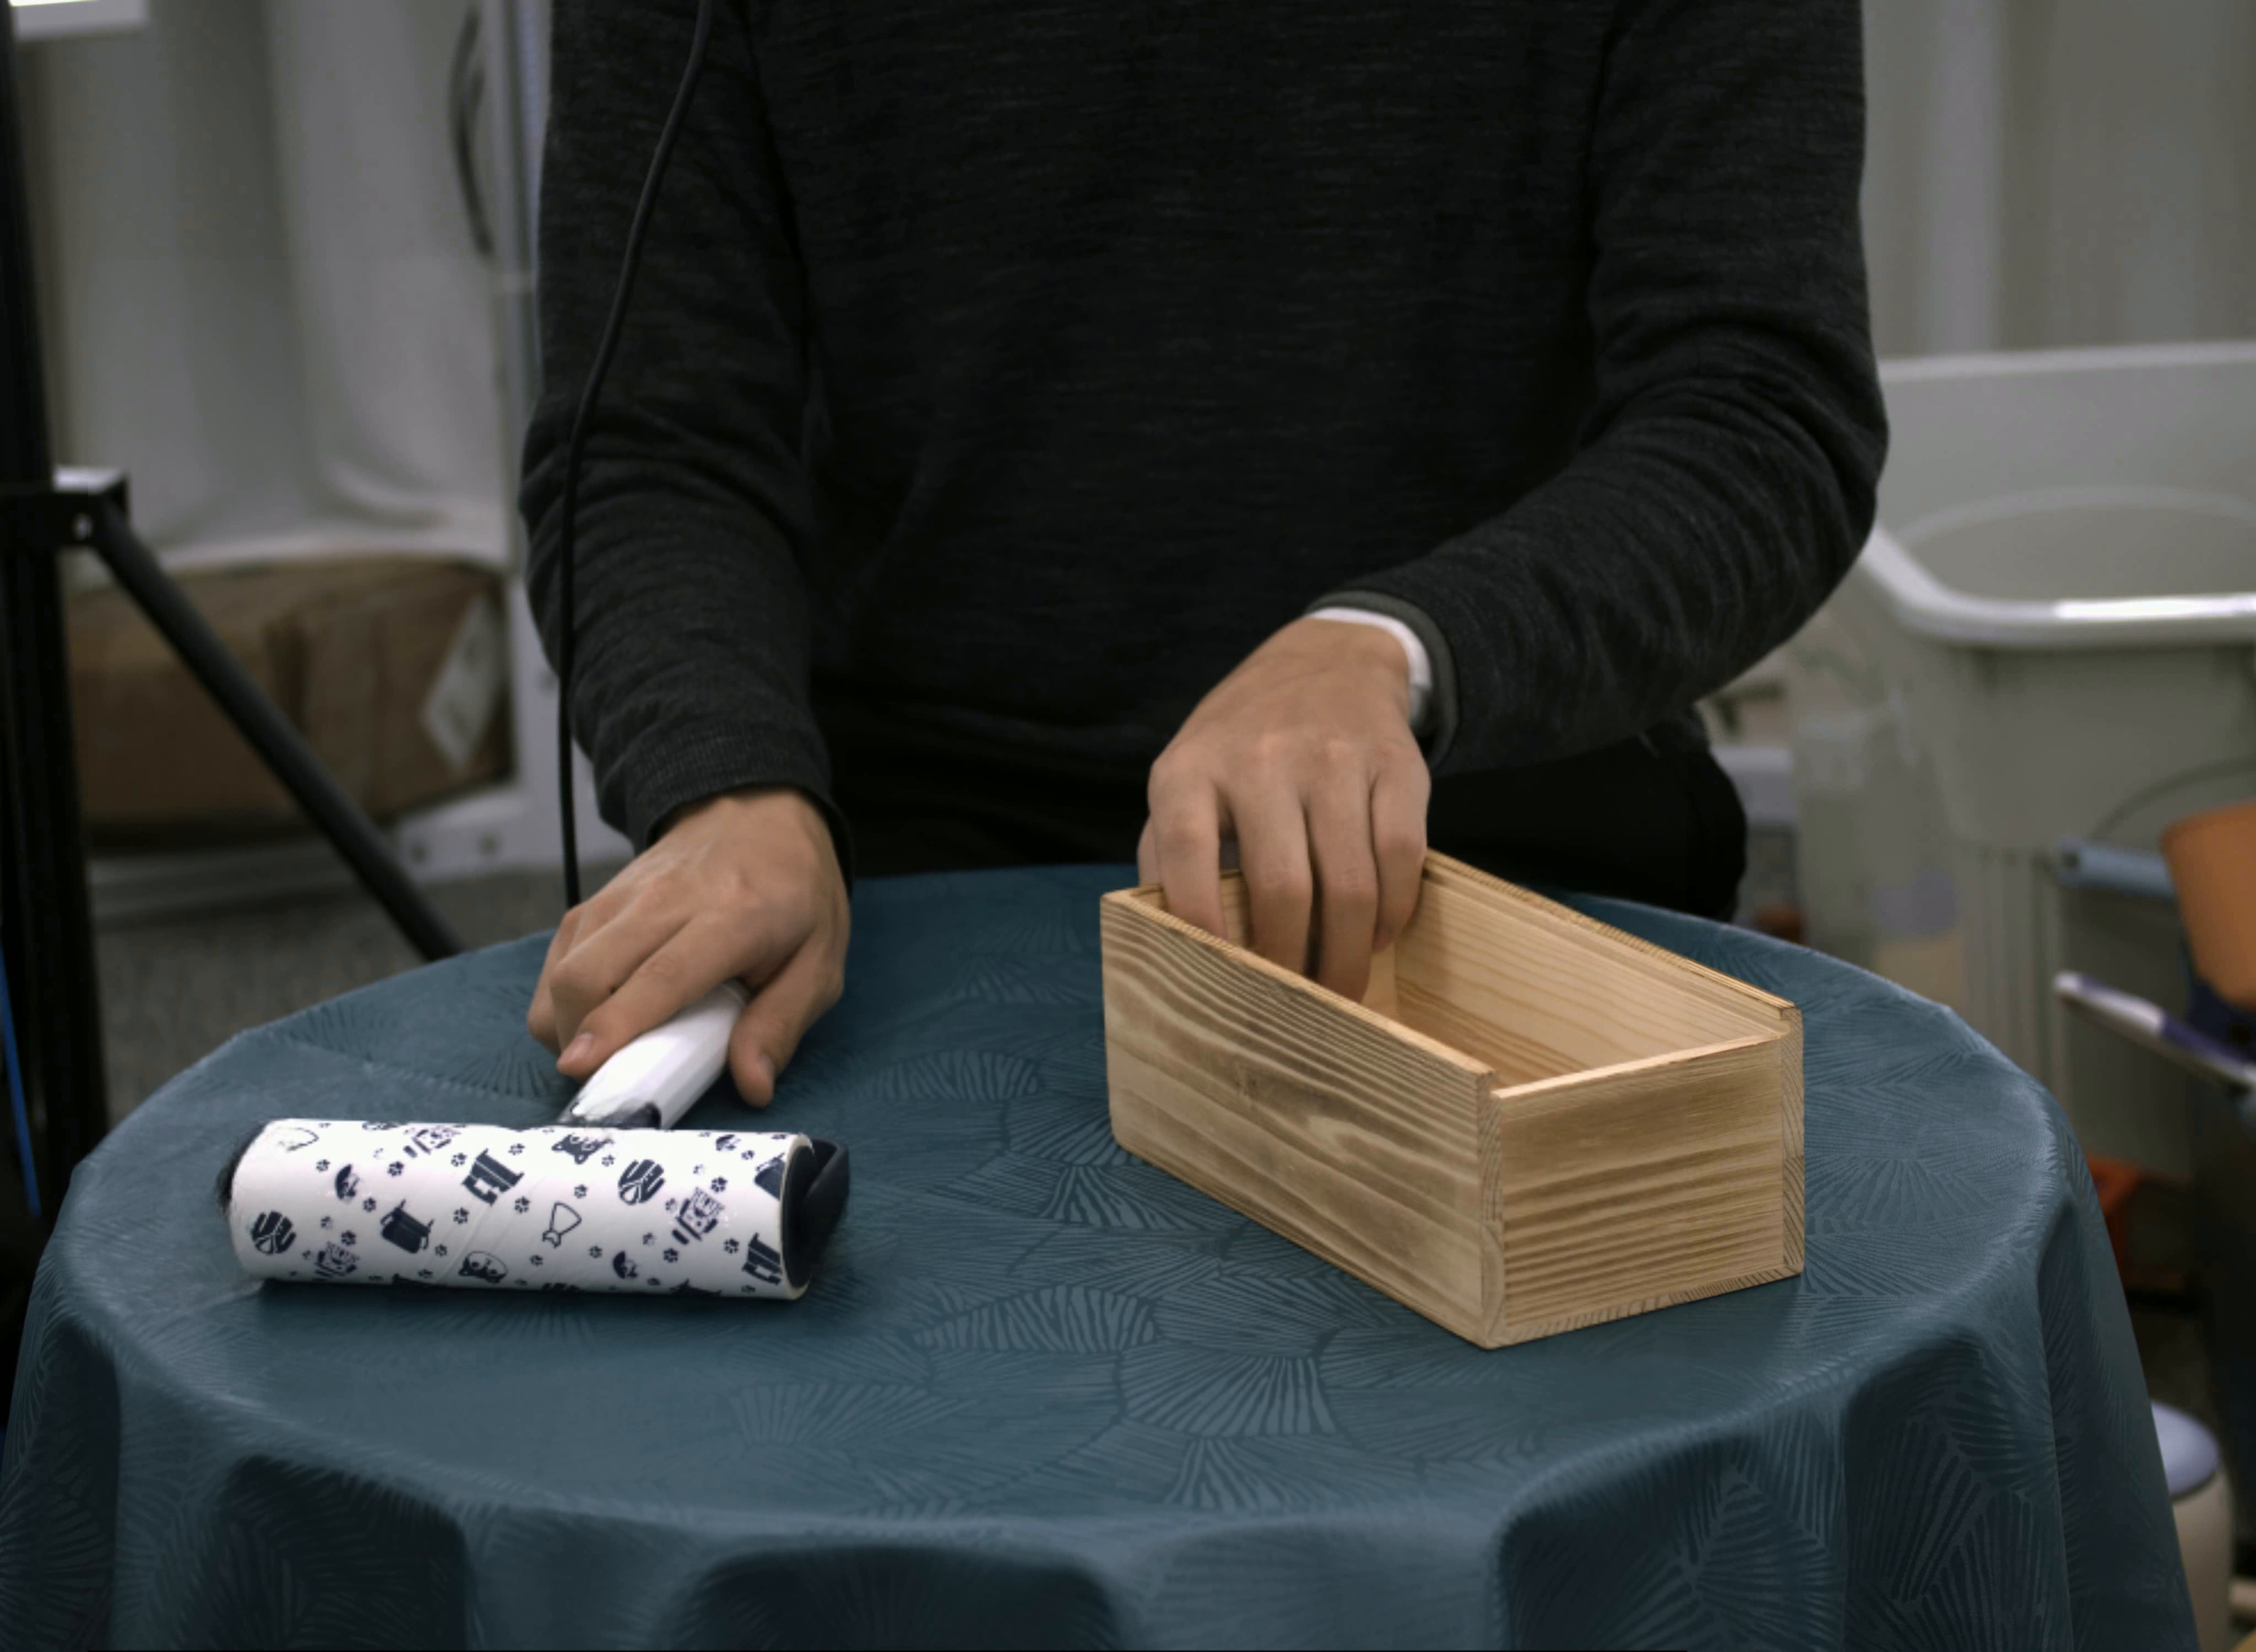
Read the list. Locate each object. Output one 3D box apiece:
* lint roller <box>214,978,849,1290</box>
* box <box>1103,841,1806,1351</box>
[{"bbox_3d":[-0.152,0.081,1.596,0.177,0.050,0.246,0,15,11],"label":"lint roller"},{"bbox_3d":[0.090,0.073,1.520,0.105,0.080,0.216,-10,17,-27],"label":"box"}]
